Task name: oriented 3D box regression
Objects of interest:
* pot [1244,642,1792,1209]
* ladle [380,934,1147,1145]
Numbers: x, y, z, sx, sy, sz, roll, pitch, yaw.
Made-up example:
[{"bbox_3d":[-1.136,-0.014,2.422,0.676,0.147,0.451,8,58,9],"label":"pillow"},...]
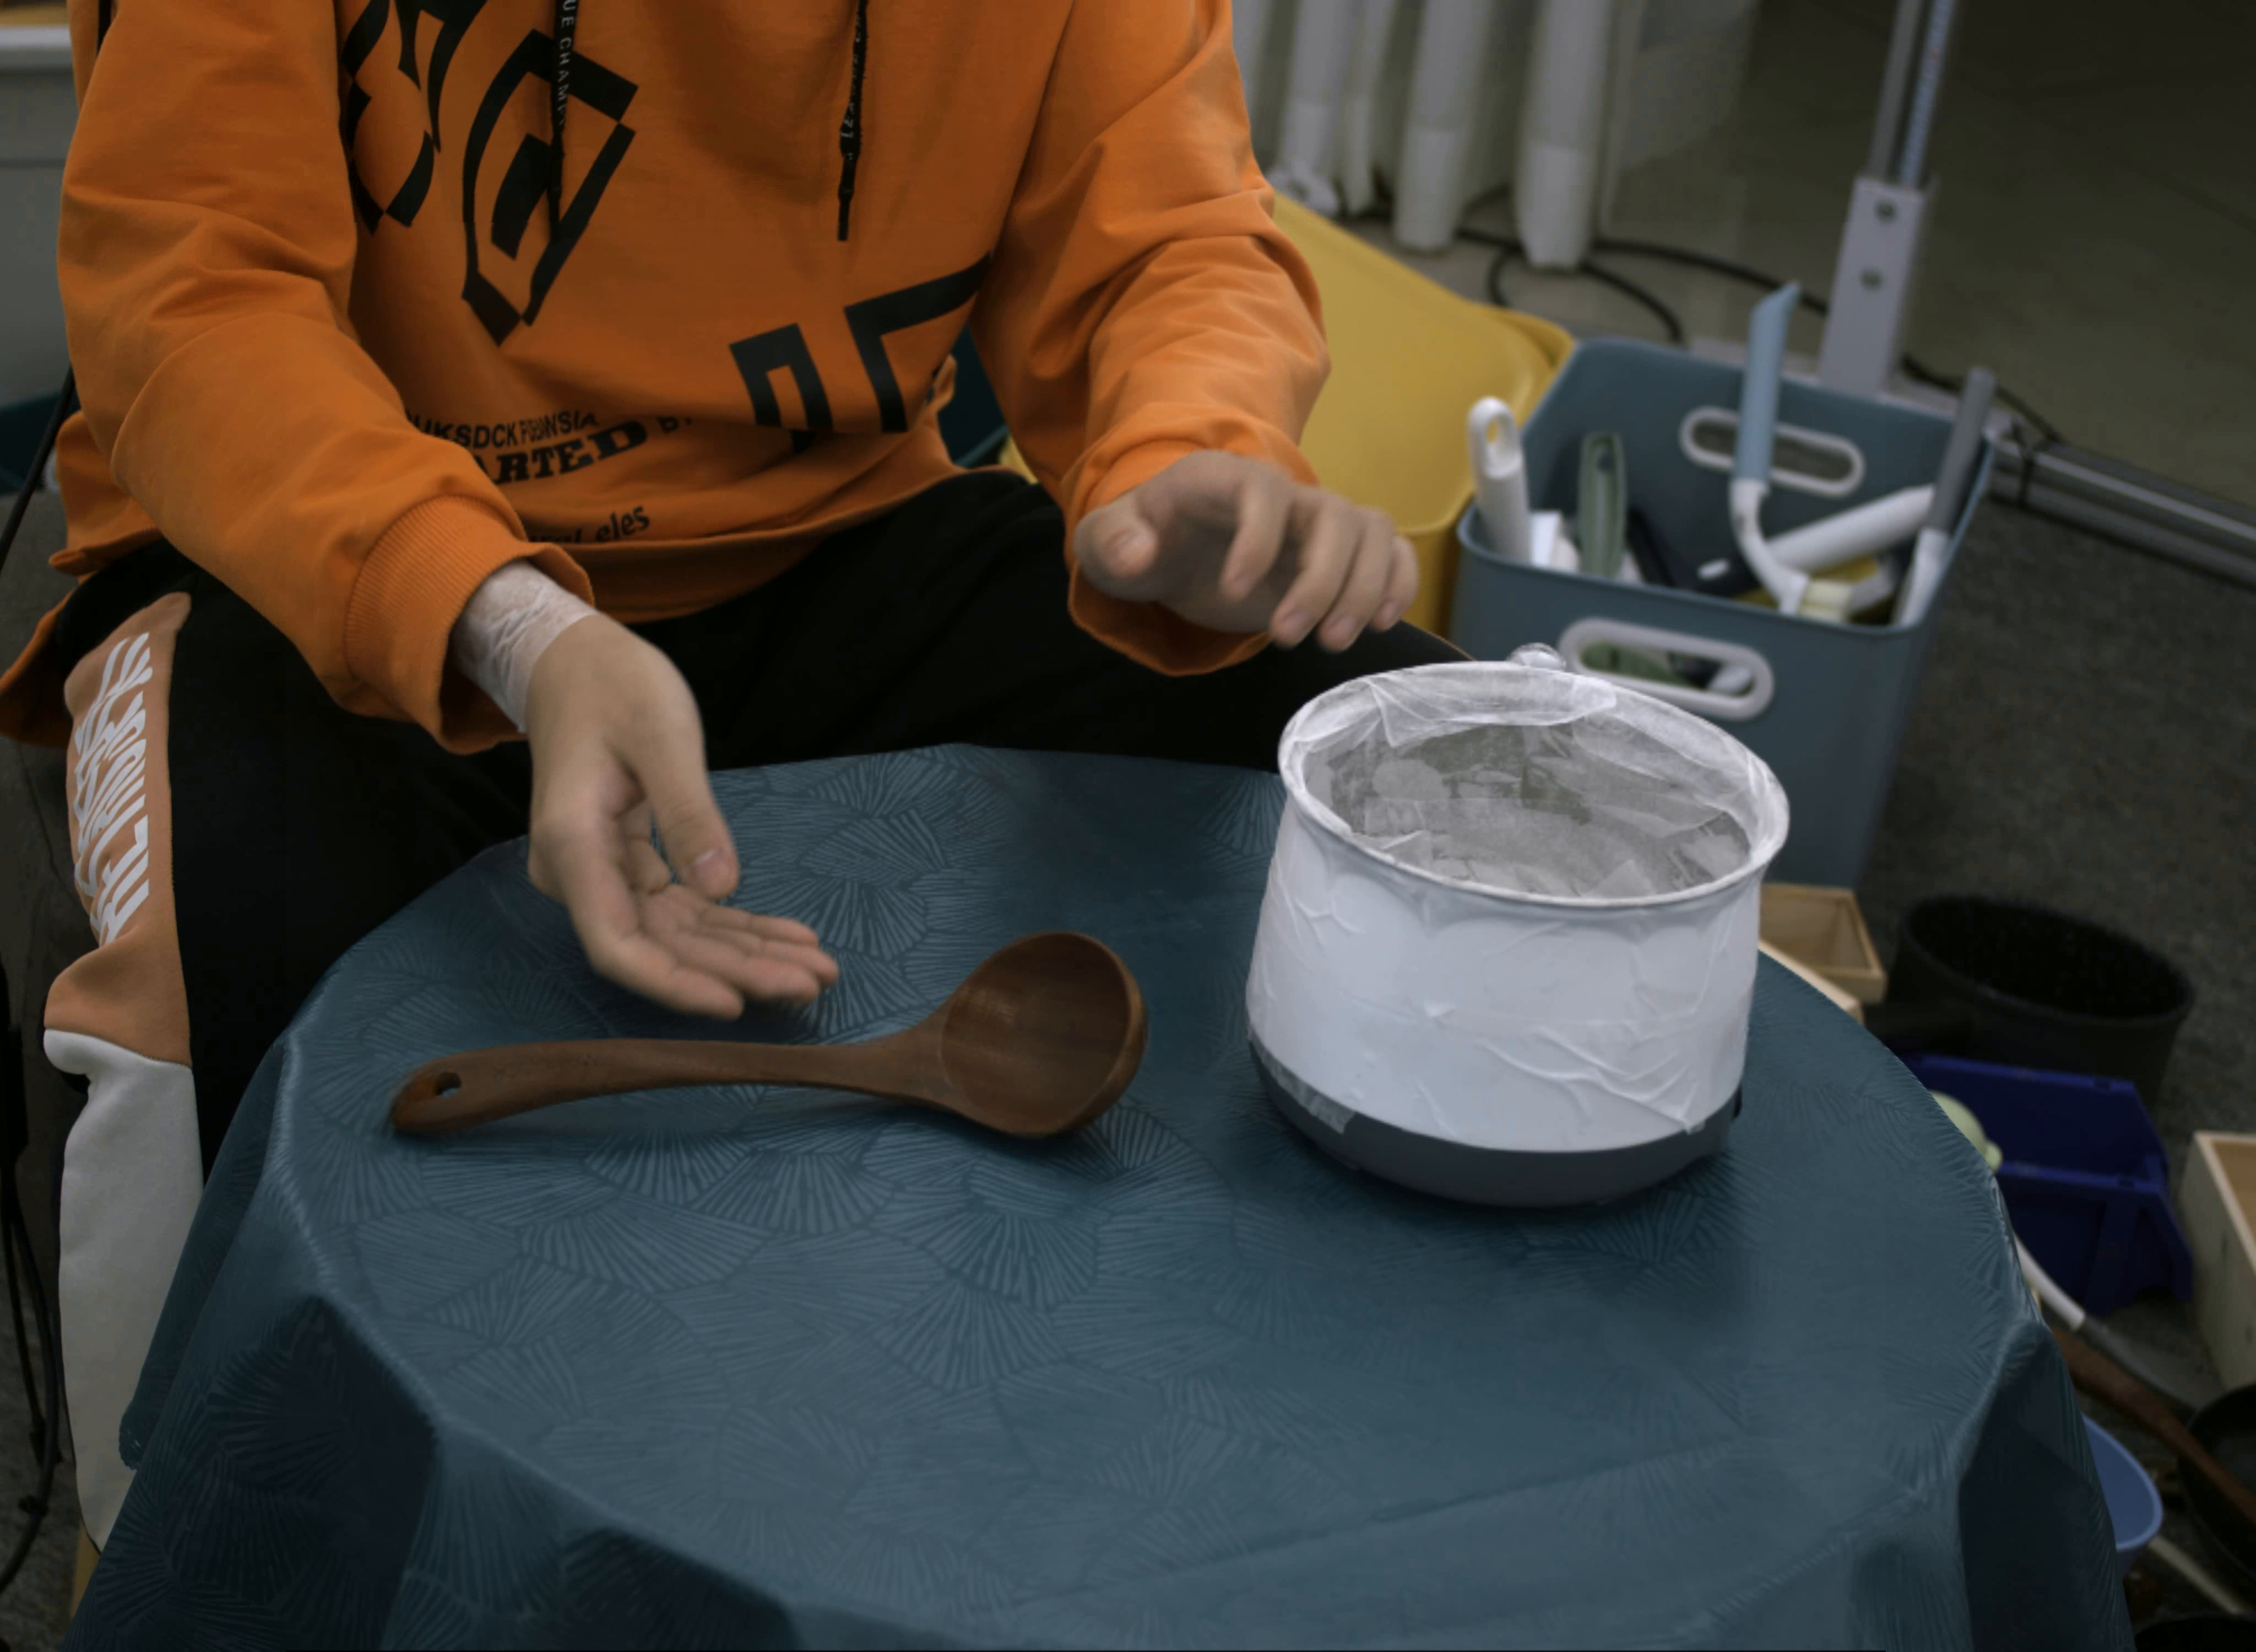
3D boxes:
[{"bbox_3d":[0.133,0.027,1.870,0.178,0.136,0.235,7,27,0],"label":"pot"},{"bbox_3d":[-0.121,0.076,1.801,0.258,0.065,0.077,-1,53,-16],"label":"ladle"}]
